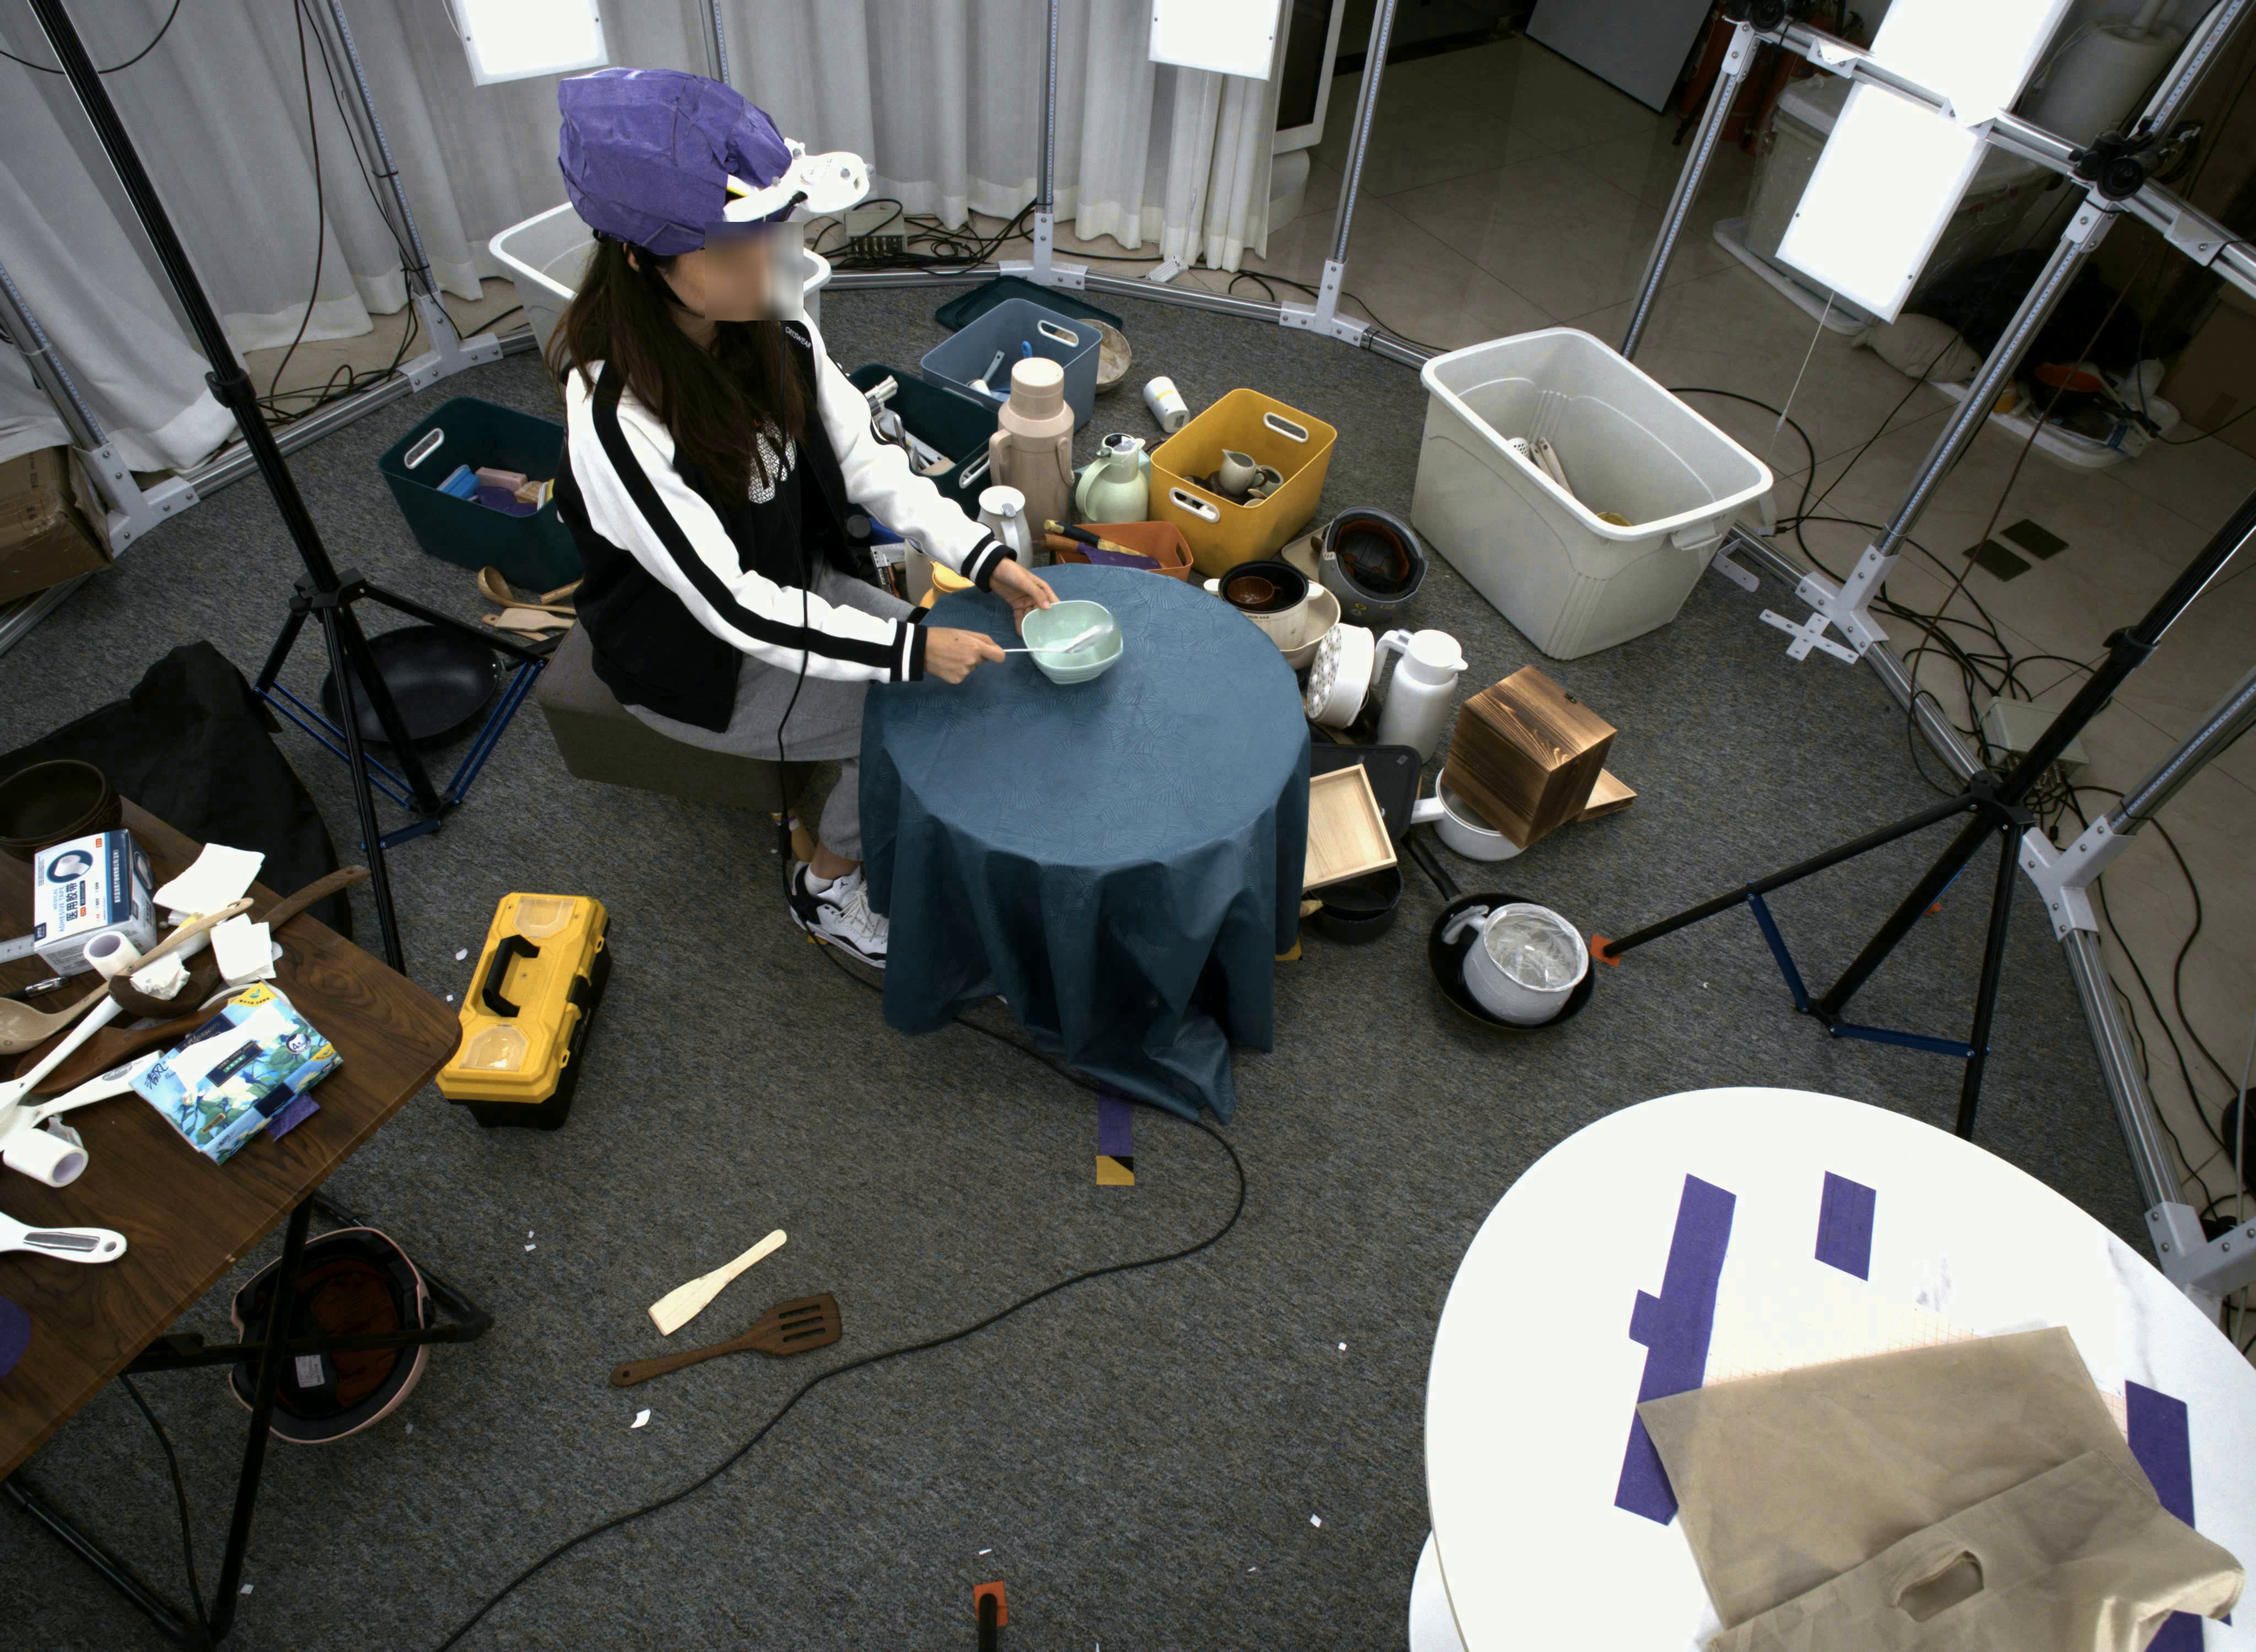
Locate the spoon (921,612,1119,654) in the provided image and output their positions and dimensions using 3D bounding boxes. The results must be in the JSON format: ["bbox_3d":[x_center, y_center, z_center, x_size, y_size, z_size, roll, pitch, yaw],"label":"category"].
[{"bbox_3d":[-0.151,-0.272,1.799,0.277,0.059,0.101,2,8,4],"label":"spoon"}]

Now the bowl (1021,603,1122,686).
[{"bbox_3d":[-0.082,-0.254,1.851,0.151,0.057,0.155,2,49,-2],"label":"bowl"}]
